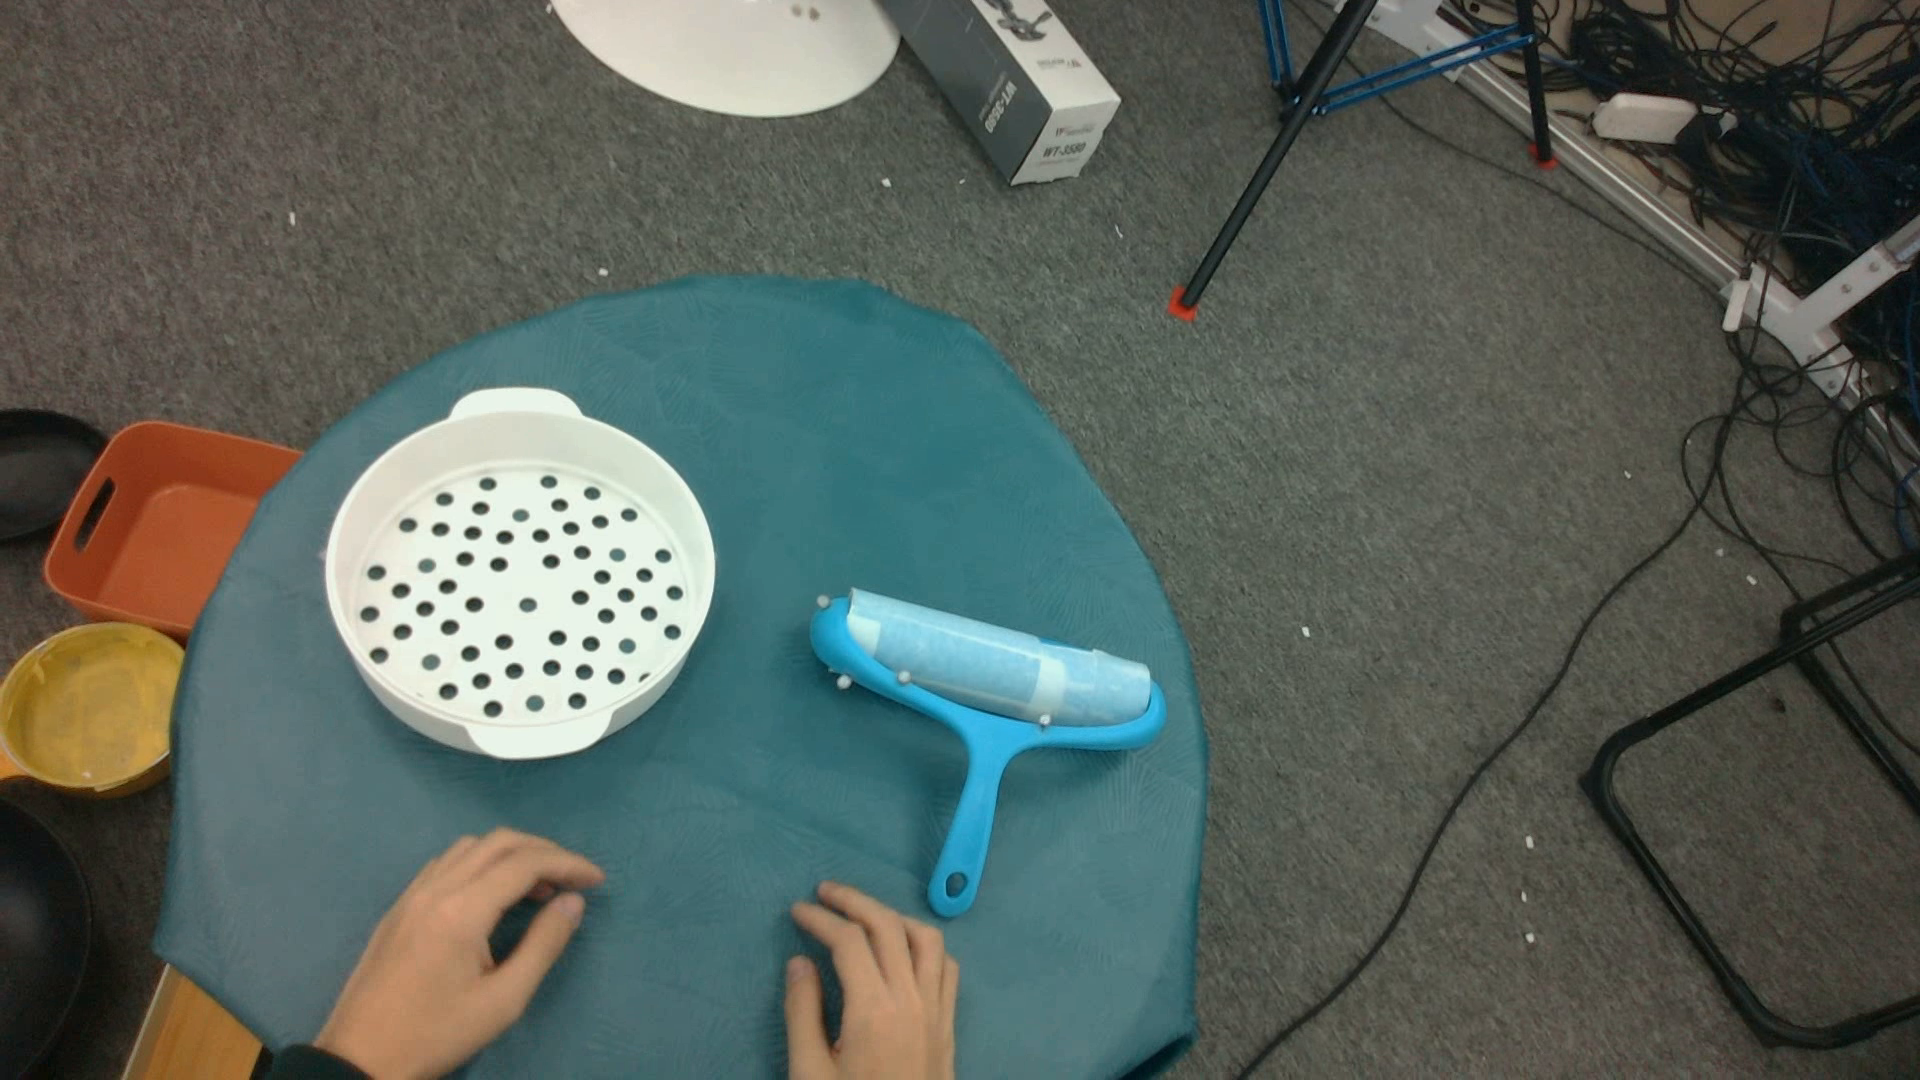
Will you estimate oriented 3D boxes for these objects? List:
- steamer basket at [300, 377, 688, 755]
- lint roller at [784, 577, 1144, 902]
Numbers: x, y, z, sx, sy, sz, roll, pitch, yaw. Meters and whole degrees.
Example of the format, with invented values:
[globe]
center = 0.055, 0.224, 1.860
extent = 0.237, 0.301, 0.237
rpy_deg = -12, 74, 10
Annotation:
[steamer basket]
center = -0.259, 0.019, 0.779
extent = 0.202, 0.069, 0.231
rpy_deg = -5, 64, -20
[lint roller]
center = 0.003, 0.118, 0.818
extent = 0.229, 0.067, 0.181
rpy_deg = 11, 58, -15
